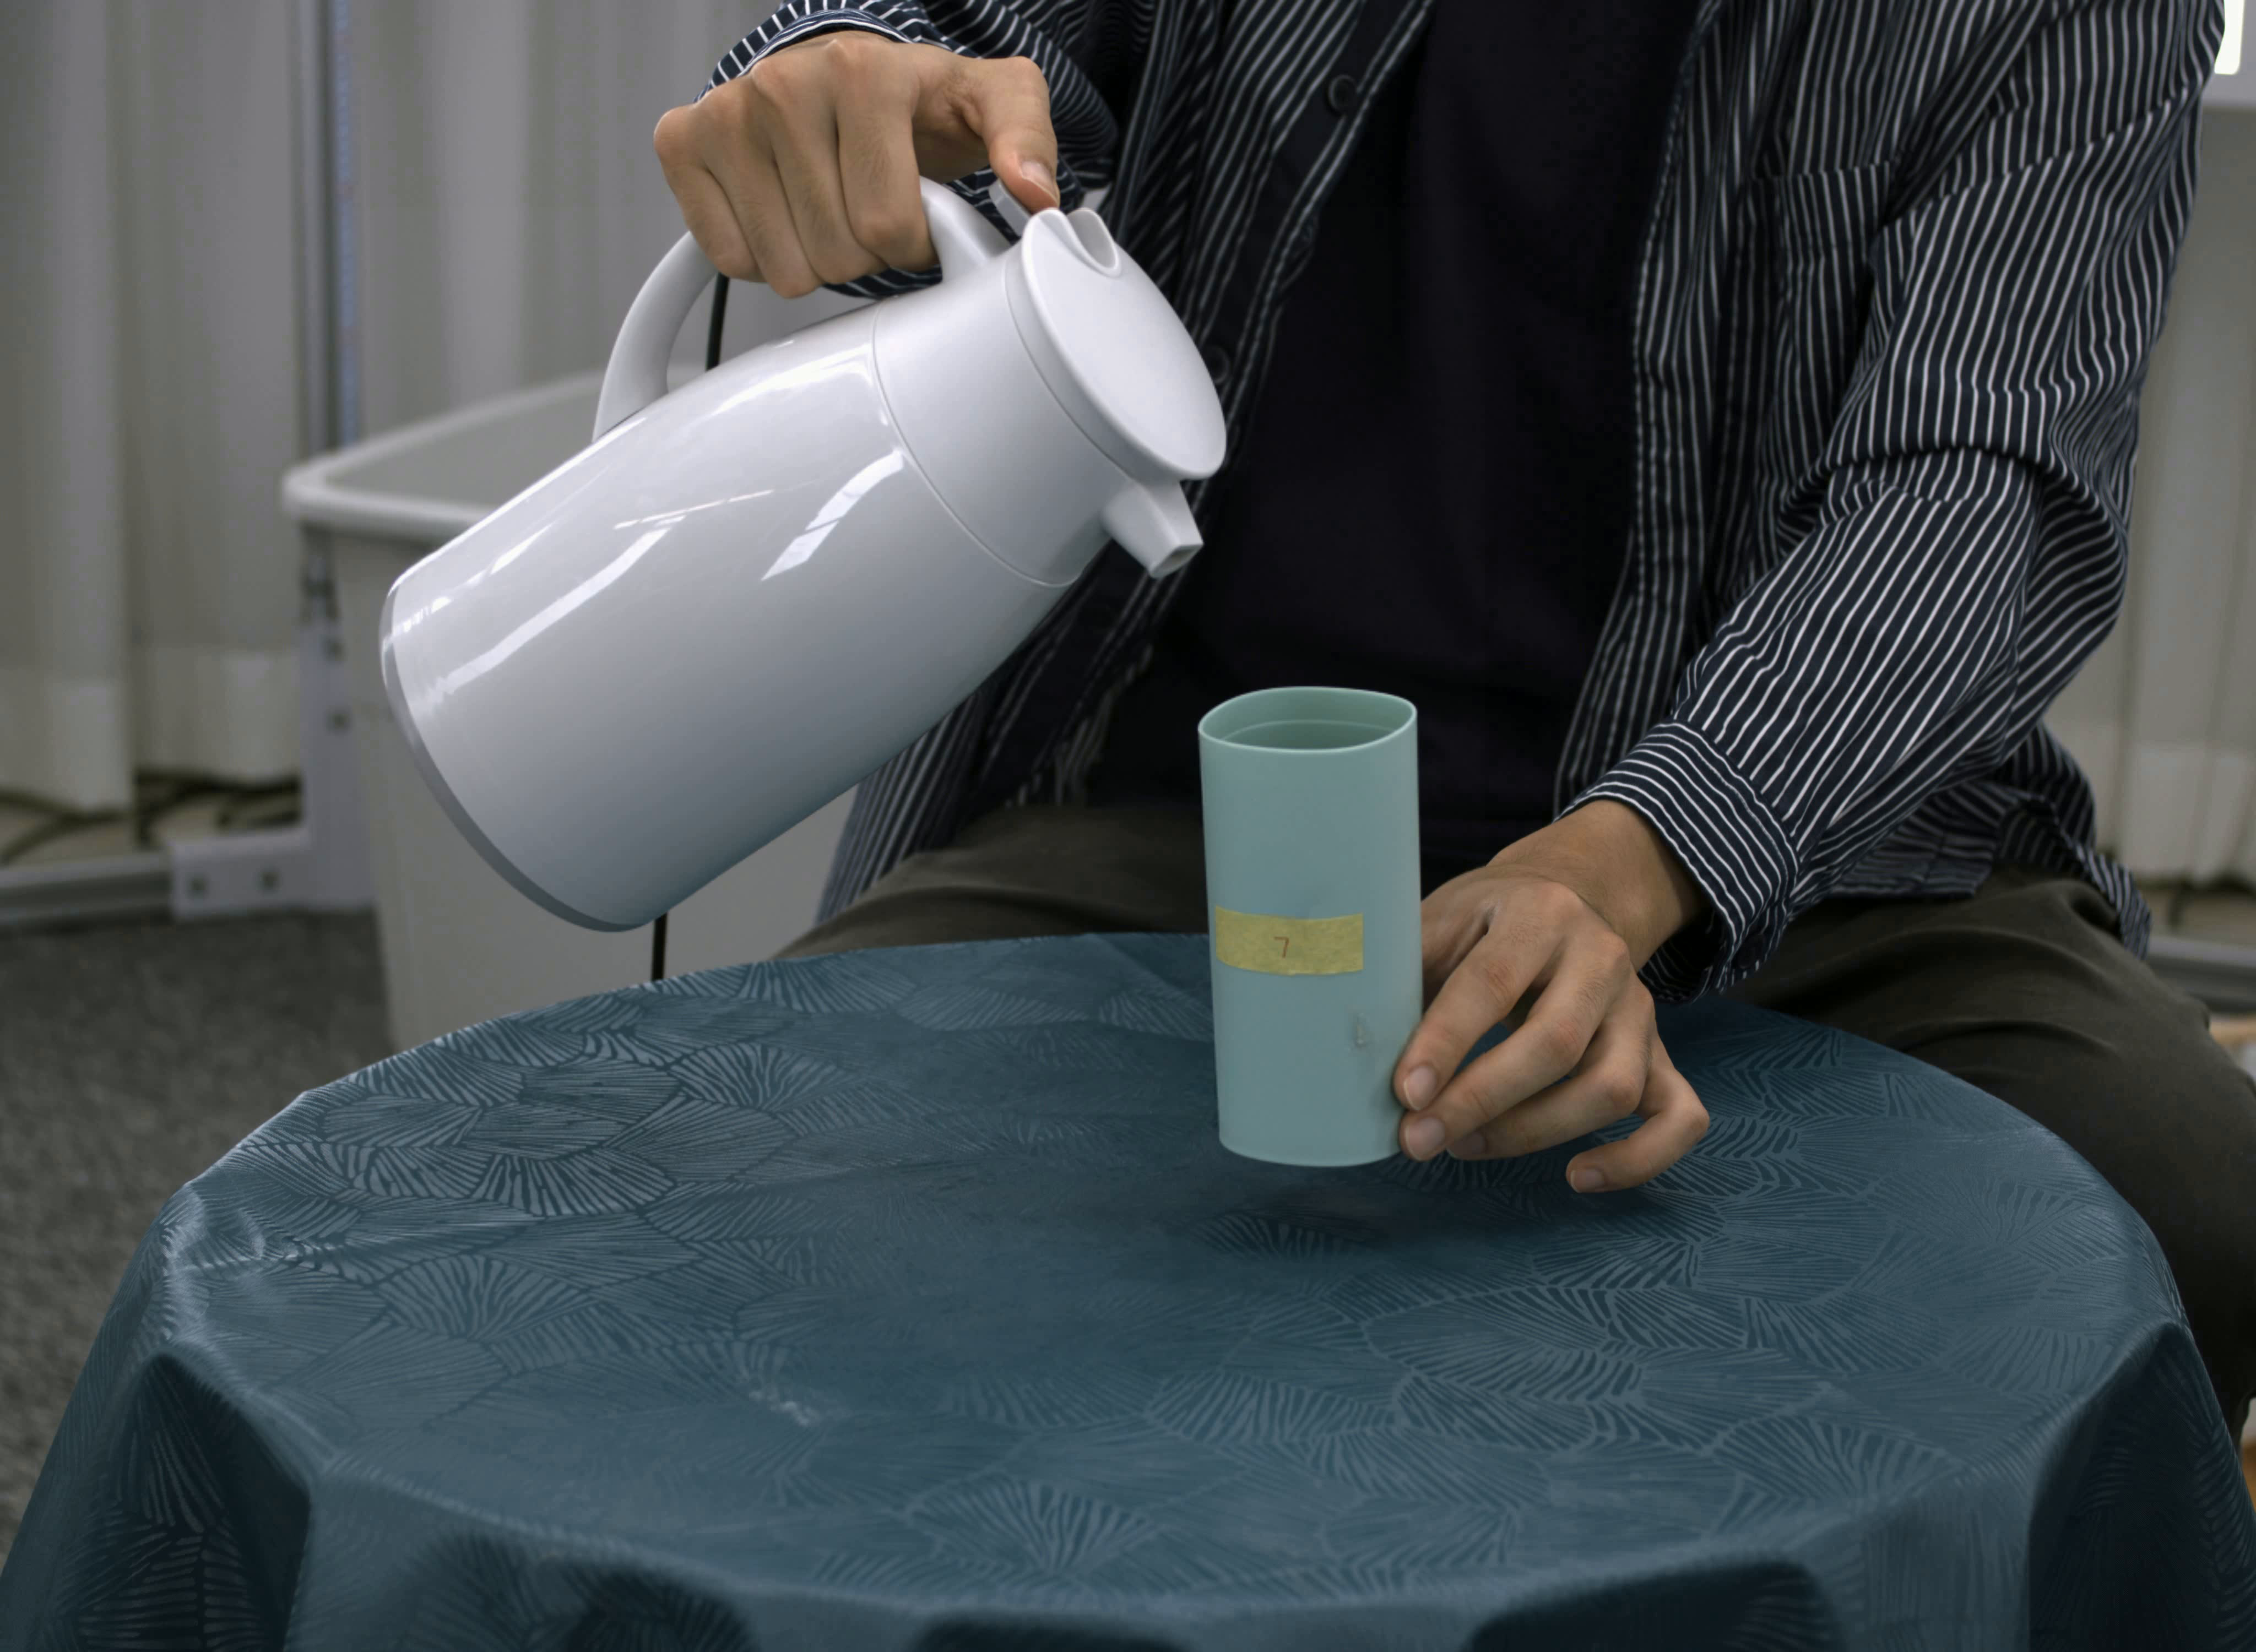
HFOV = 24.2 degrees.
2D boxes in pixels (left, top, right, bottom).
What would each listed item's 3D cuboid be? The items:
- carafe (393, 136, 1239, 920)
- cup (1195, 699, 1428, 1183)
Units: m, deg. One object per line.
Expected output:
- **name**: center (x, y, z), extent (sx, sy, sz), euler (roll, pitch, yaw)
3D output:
- **carafe**: center (-0.096, -0.105, 1.570), extent (0.248, 0.167, 0.133), euler (-33, -6, 24)
- **cup**: center (0.056, 0.033, 1.572), extent (0.066, 0.133, 0.066), euler (-3, 19, 1)
